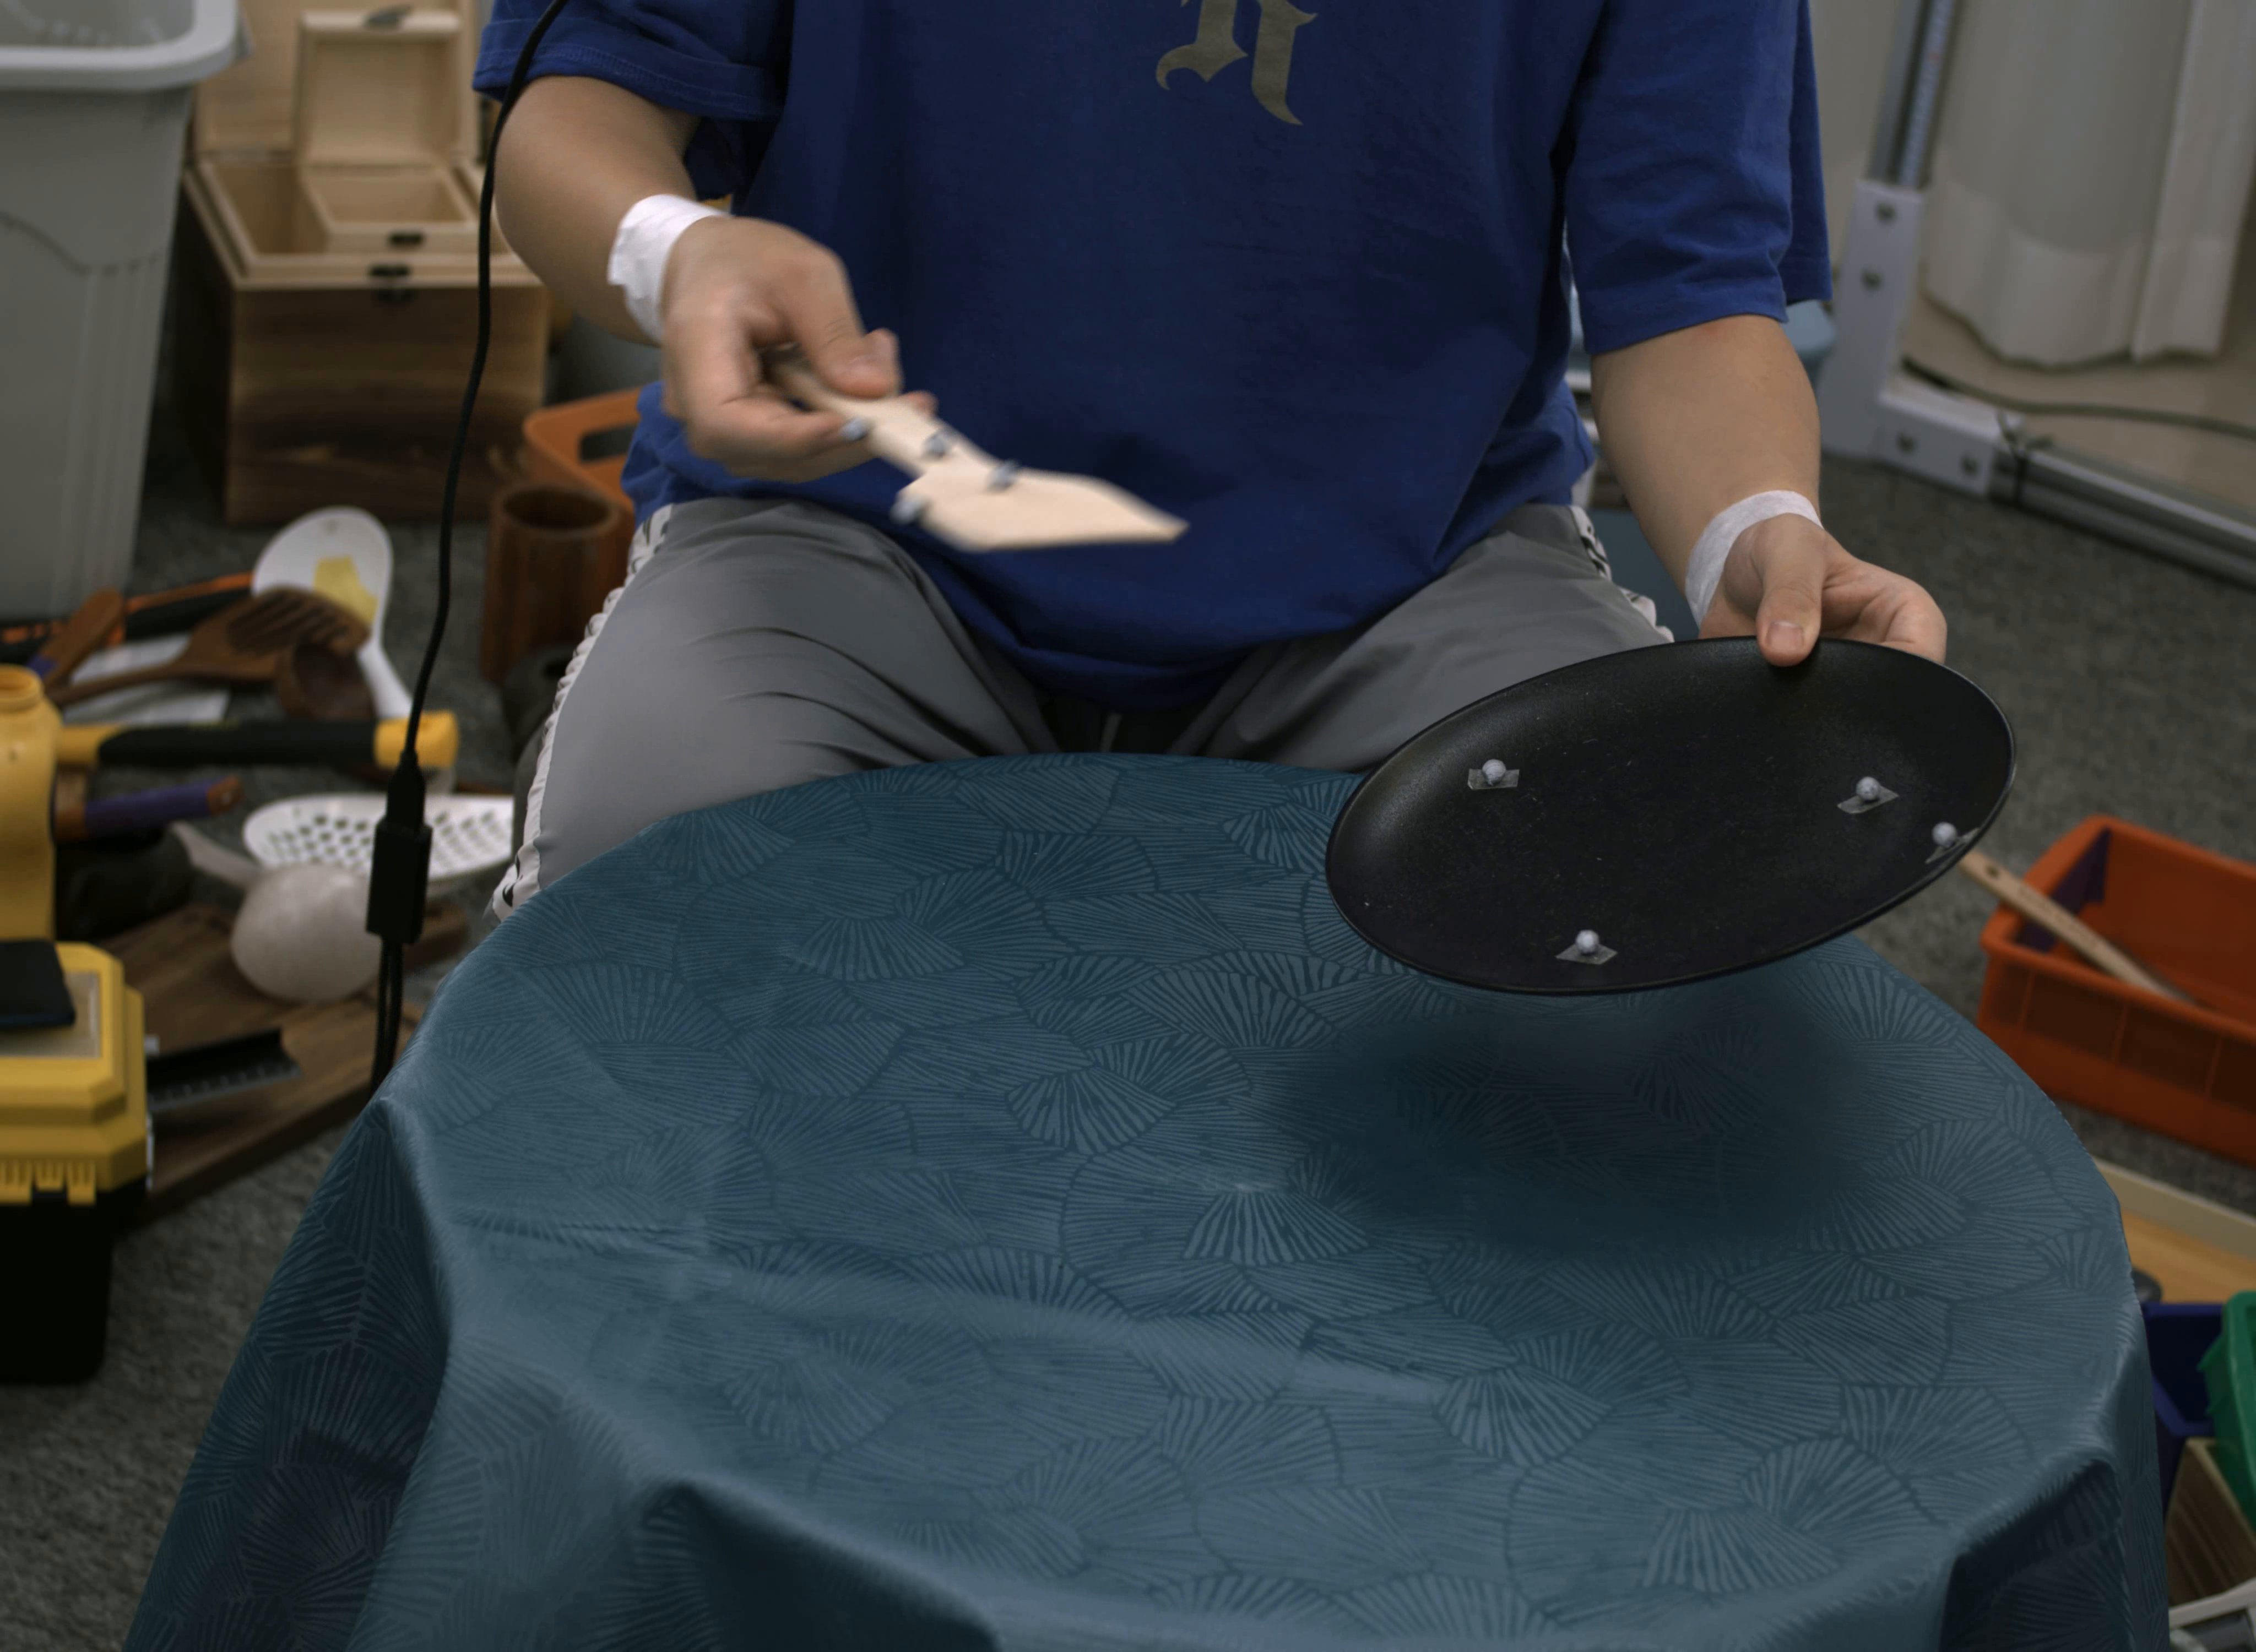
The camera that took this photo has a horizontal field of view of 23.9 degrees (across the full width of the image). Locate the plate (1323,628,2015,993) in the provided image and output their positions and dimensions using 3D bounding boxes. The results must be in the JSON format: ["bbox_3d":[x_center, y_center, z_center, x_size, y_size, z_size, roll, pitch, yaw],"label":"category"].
[{"bbox_3d":[0.188,-0.001,1.851,0.244,0.023,0.246,-12,27,6],"label":"plate"}]

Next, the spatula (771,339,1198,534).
[{"bbox_3d":[-0.065,-0.136,1.846,0.072,0.010,0.295,-5,18,-23],"label":"spatula"}]
